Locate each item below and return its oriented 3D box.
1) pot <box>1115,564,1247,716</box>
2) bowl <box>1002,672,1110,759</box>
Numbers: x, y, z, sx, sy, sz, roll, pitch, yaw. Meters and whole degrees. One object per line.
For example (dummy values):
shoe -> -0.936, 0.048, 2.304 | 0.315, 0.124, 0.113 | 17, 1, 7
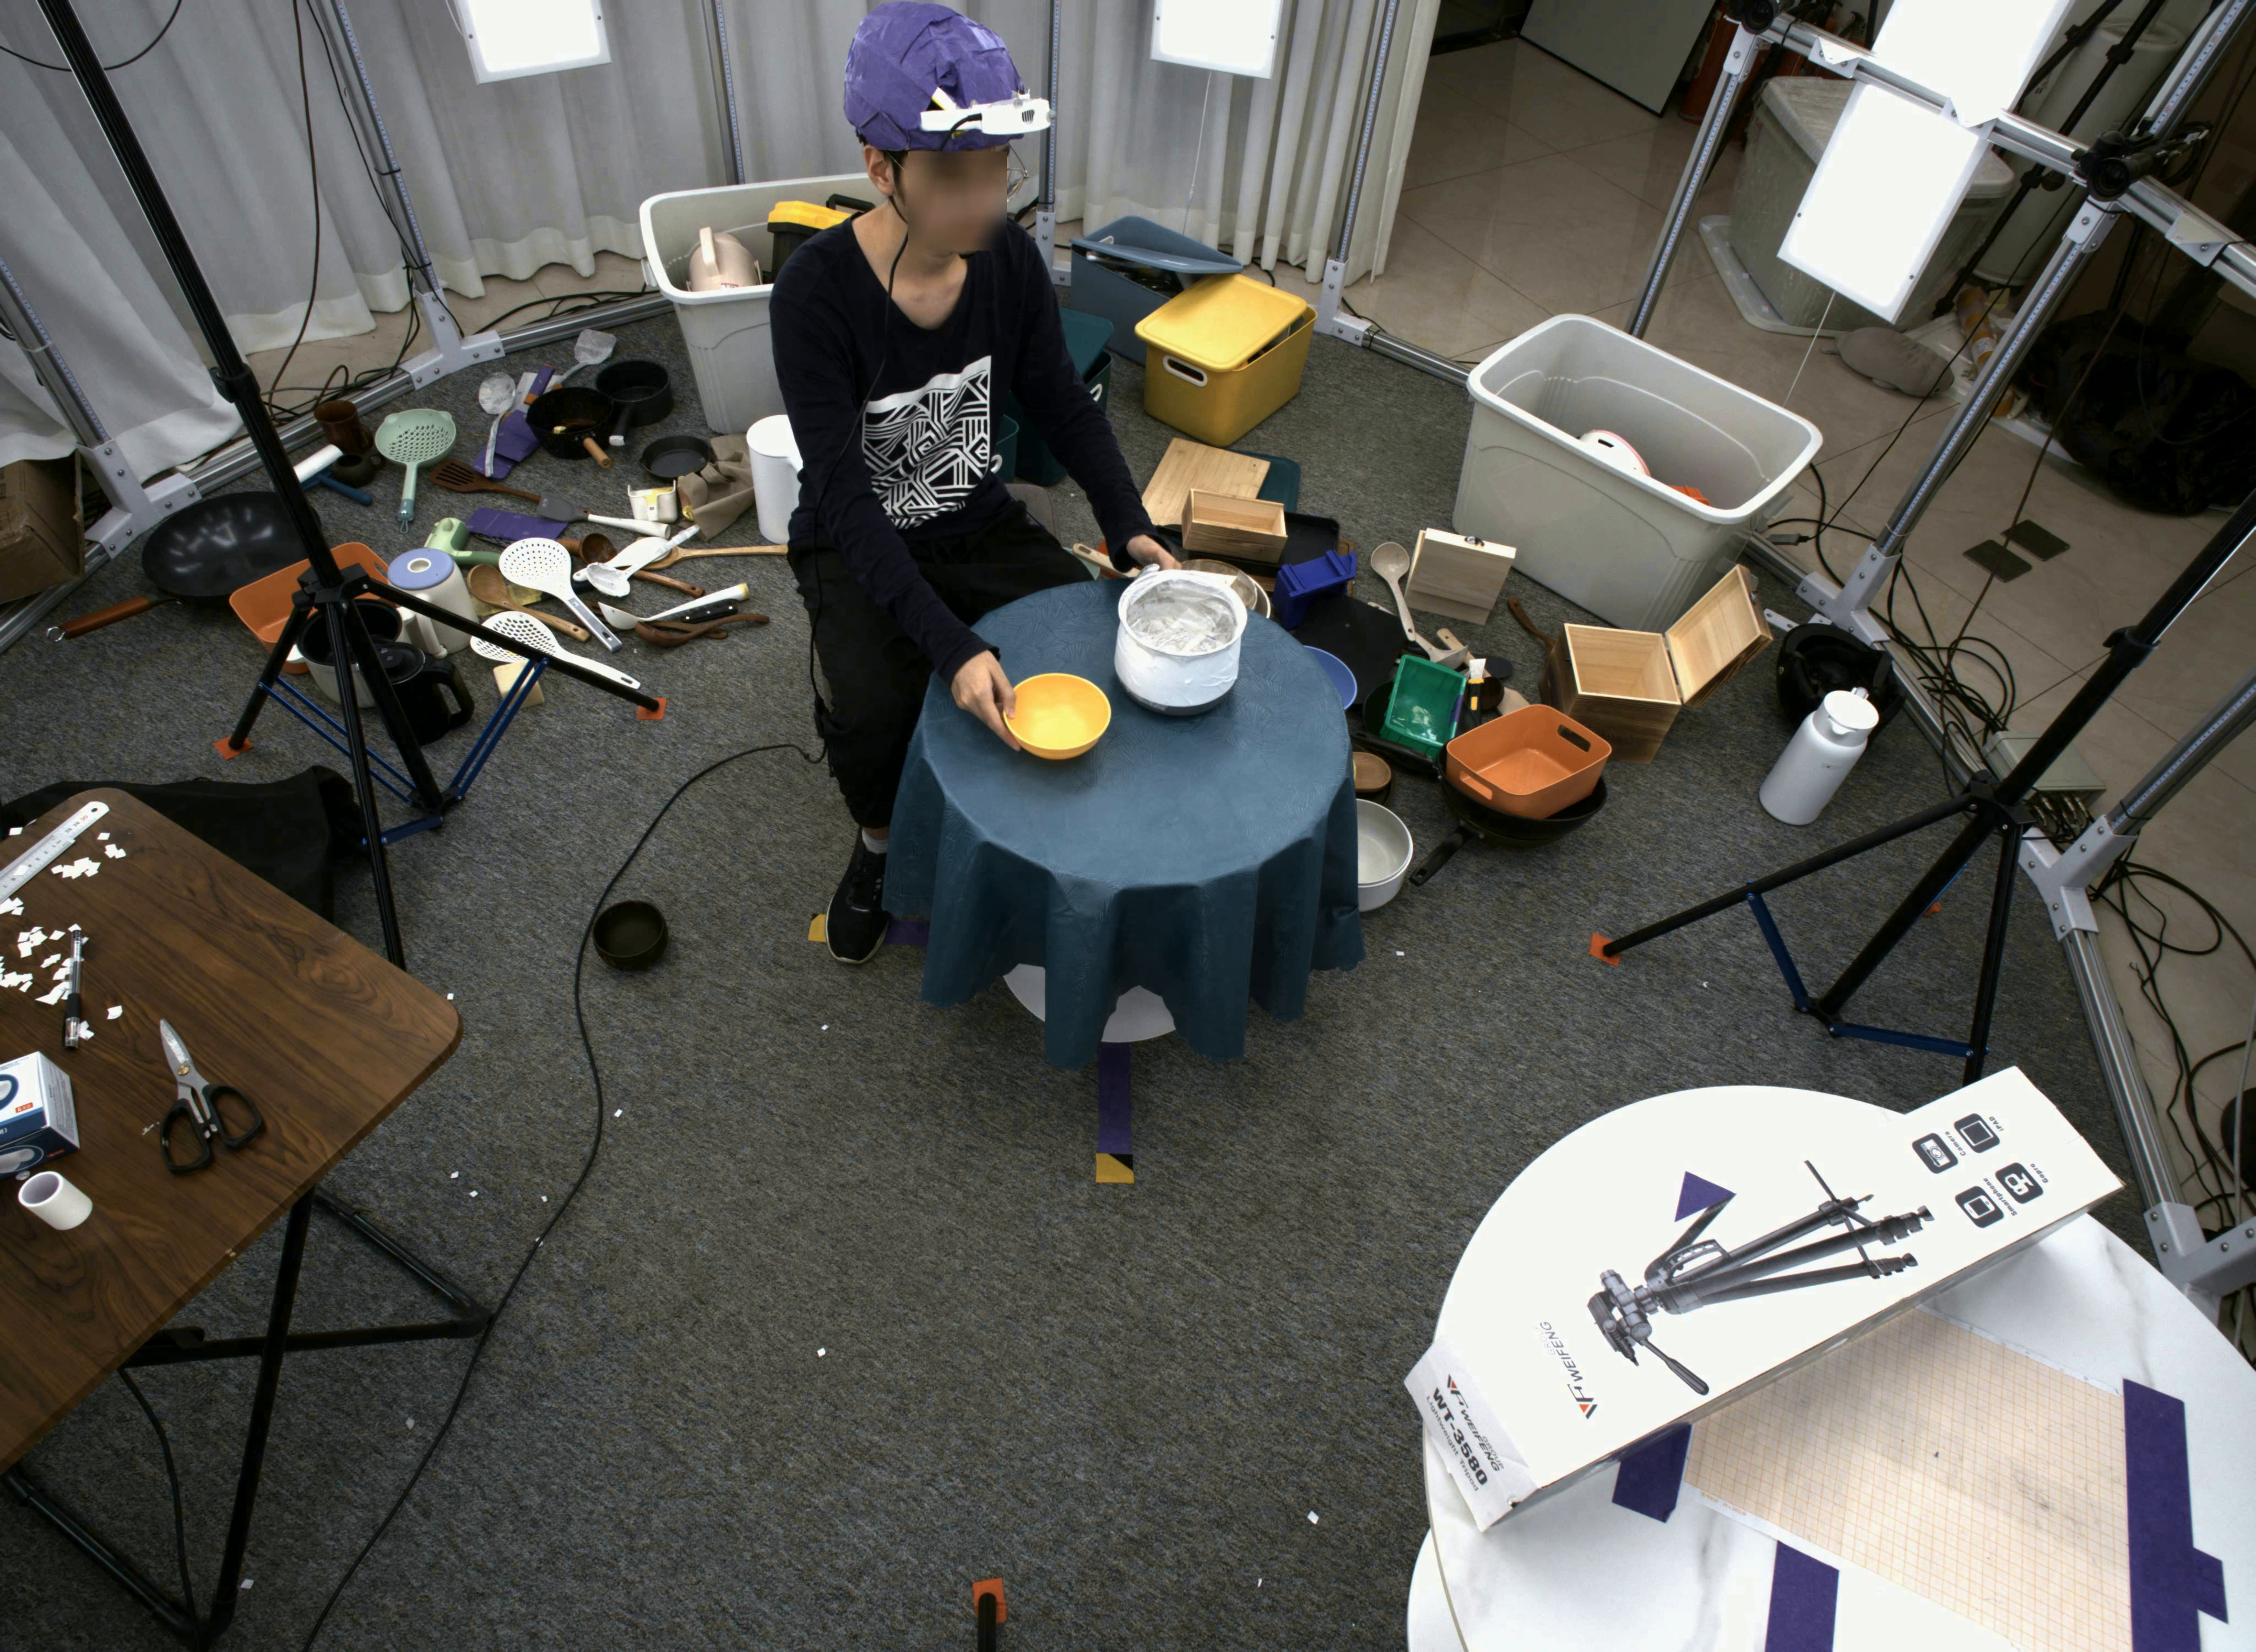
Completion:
pot -> 0.061, -0.273, 1.823 | 0.179, 0.133, 0.239 | -16, 51, -17
bowl -> -0.099, -0.138, 1.740 | 0.145, 0.059, 0.149 | 3, 50, -4
